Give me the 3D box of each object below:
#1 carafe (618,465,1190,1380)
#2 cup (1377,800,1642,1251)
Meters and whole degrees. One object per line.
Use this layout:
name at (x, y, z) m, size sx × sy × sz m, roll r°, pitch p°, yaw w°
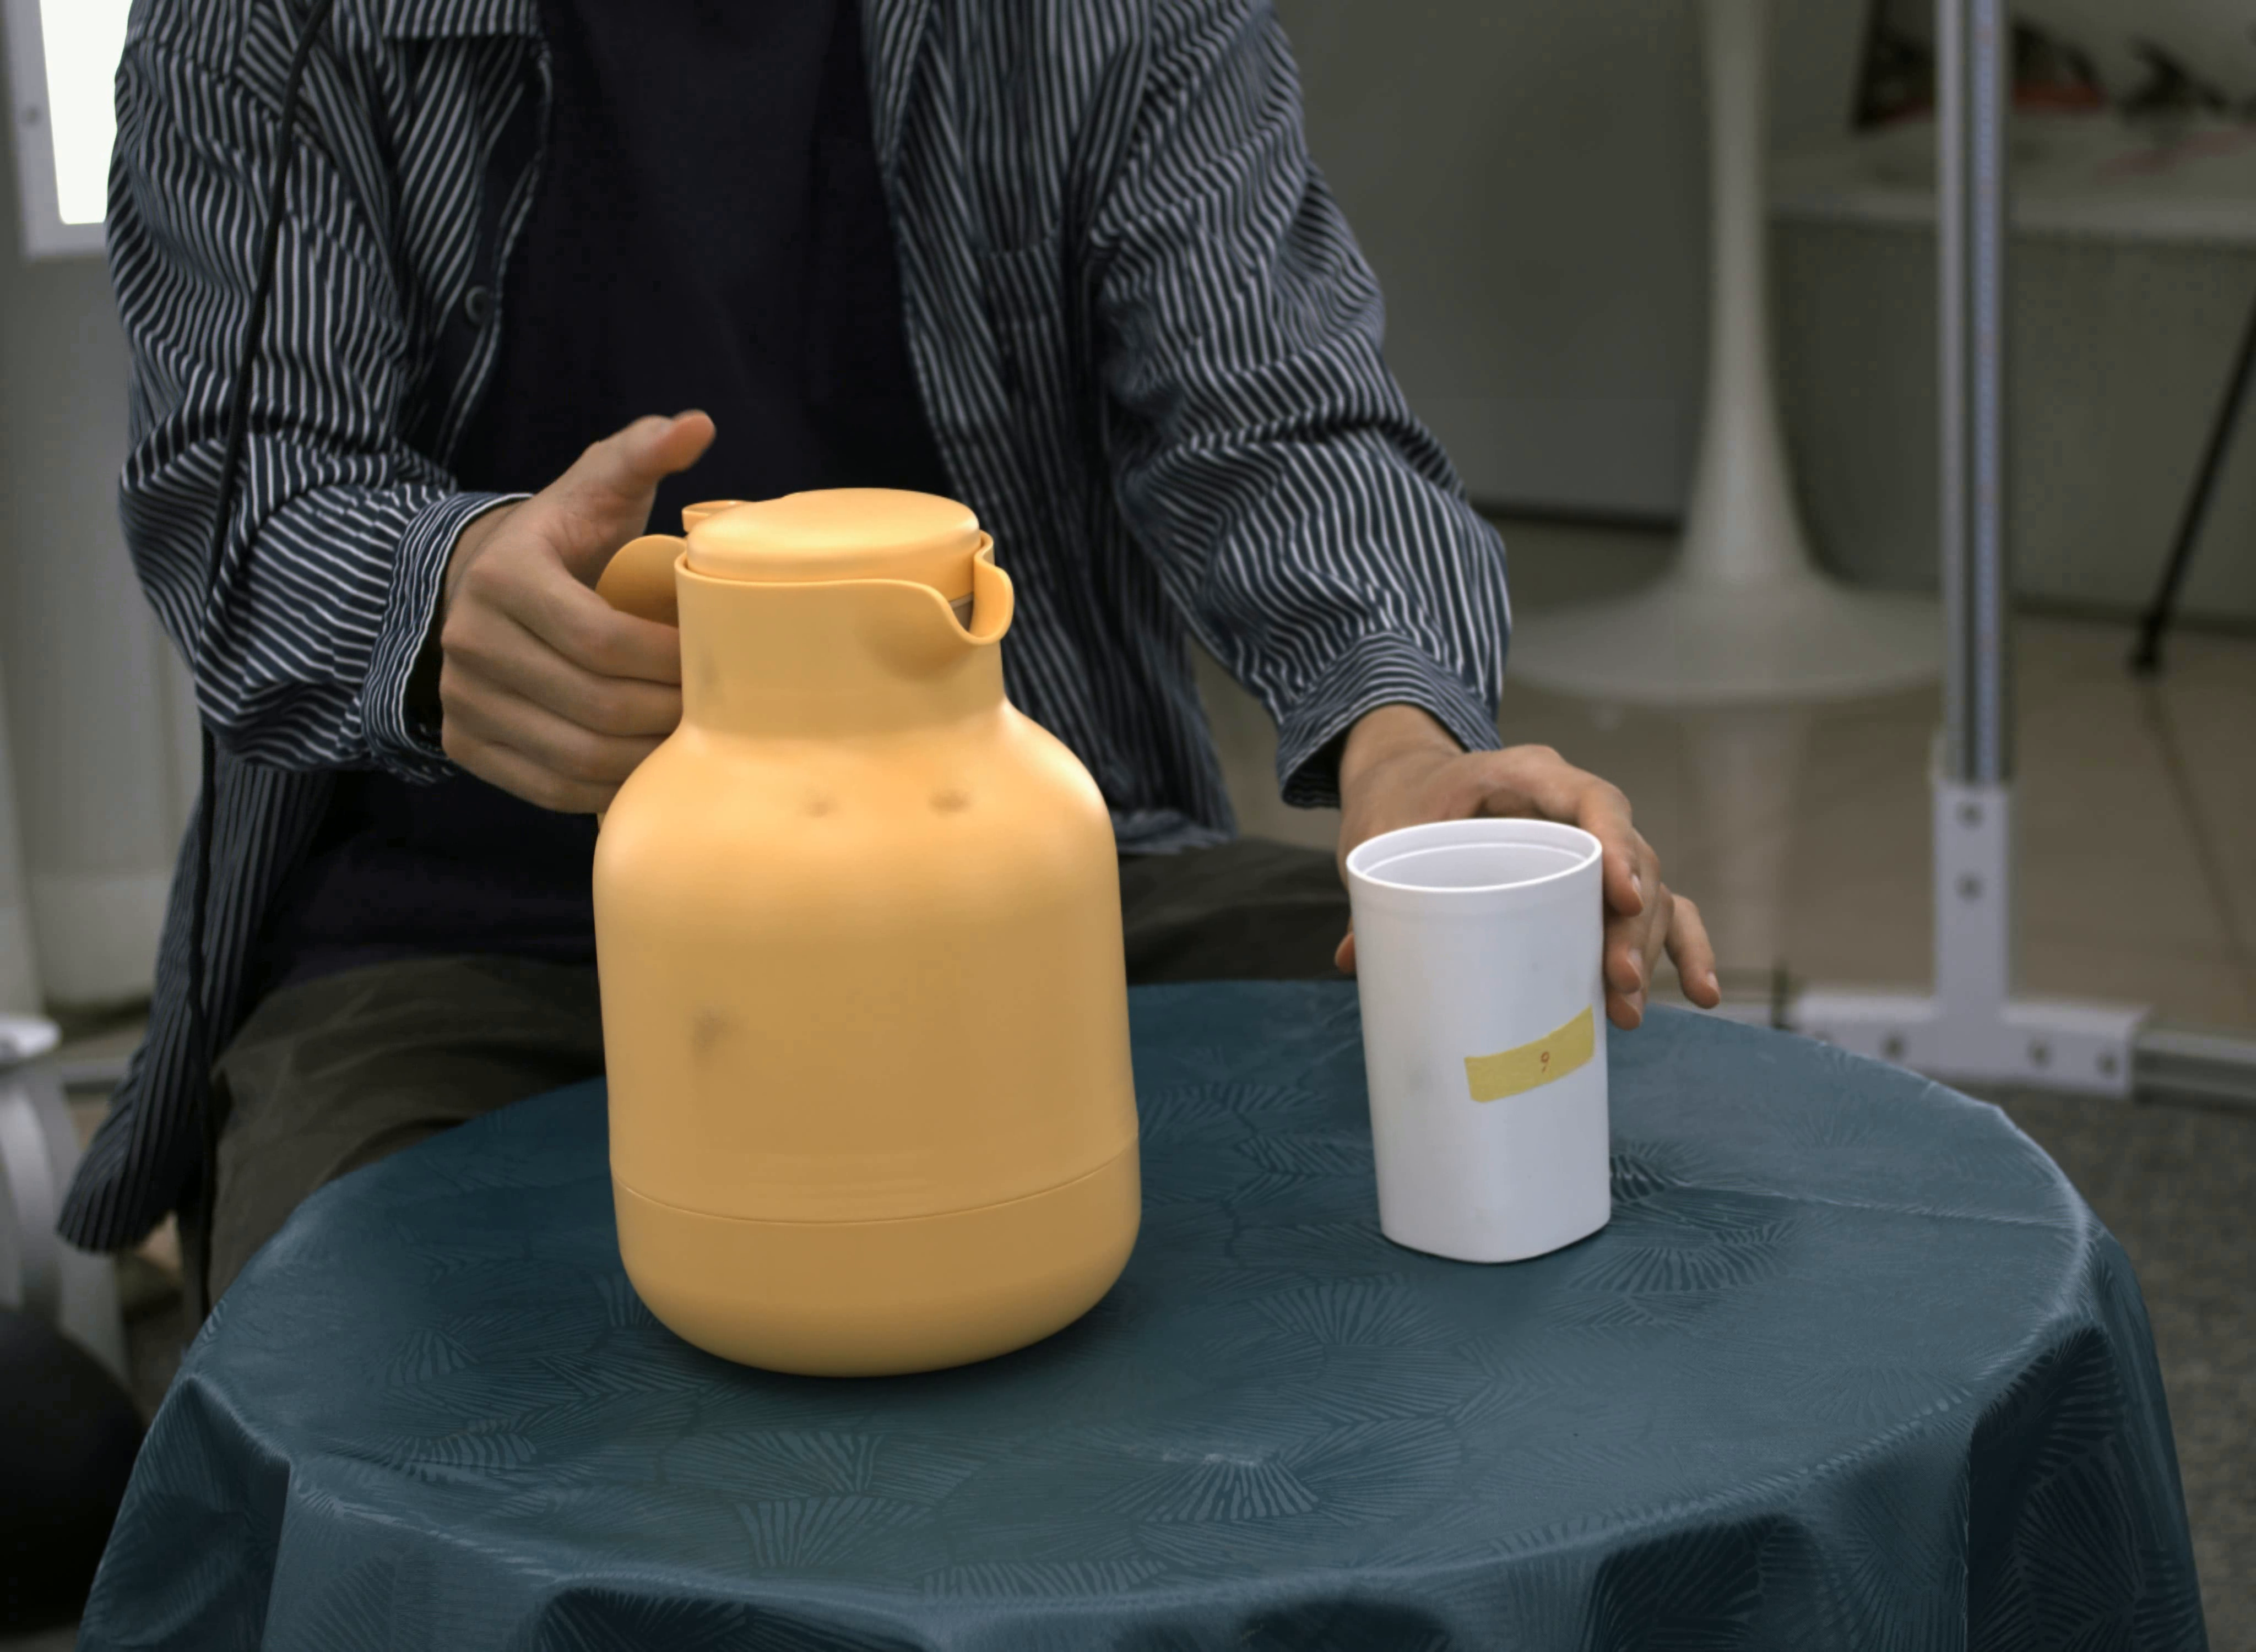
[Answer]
carafe at (-0.078, 0.022, 1.644) m, size 0.160 × 0.263 × 0.204 m, roll -14°, pitch 17°, yaw -39°
cup at (0.123, 0.063, 1.696) m, size 0.080 × 0.127 × 0.082 m, roll -5°, pitch 13°, yaw 0°
